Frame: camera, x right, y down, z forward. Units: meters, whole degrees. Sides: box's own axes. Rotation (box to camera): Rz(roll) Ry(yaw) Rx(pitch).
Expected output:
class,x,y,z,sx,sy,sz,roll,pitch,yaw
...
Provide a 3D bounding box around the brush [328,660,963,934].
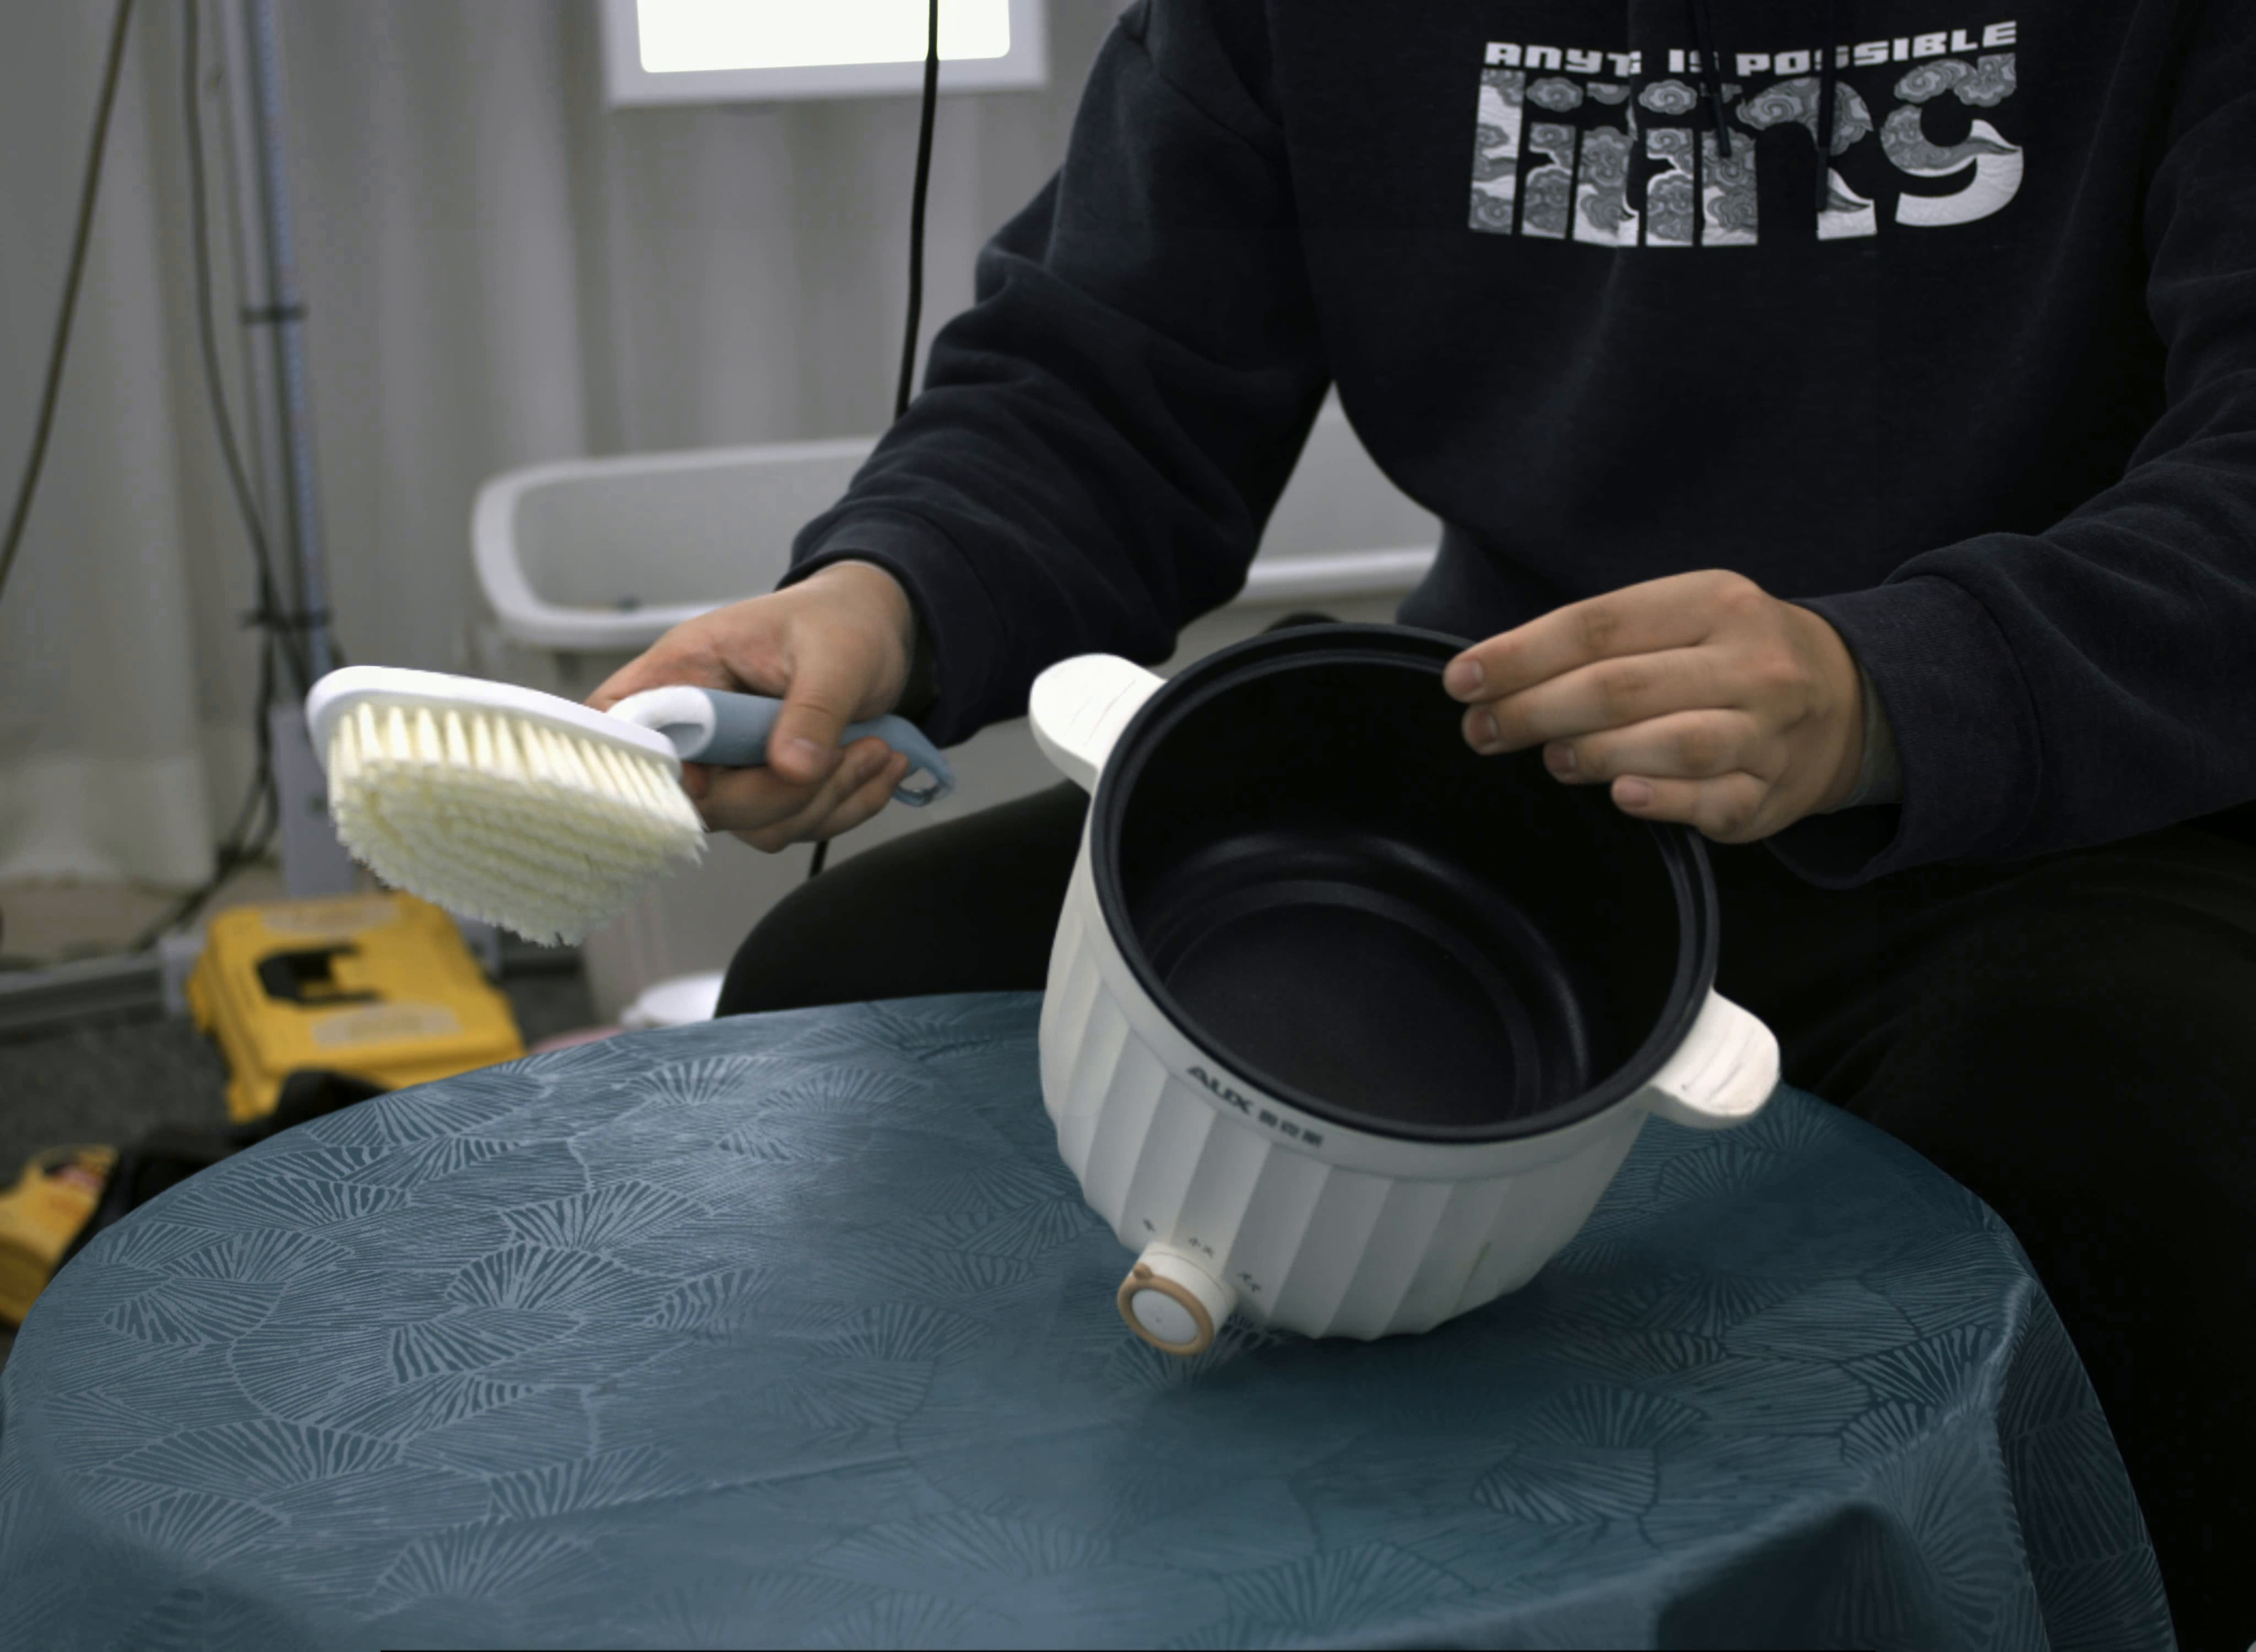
class,x,y,z,sx,sy,sz,roll,pitch,yaw
brush,-0.130,-0.004,1.726,0.083,0.085,0.323,5,-1,32

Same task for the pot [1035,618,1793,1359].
class,x,y,z,sx,sy,sz,roll,pitch,yaw
pot,0.065,0.056,1.575,0.241,0.141,0.192,29,48,10
